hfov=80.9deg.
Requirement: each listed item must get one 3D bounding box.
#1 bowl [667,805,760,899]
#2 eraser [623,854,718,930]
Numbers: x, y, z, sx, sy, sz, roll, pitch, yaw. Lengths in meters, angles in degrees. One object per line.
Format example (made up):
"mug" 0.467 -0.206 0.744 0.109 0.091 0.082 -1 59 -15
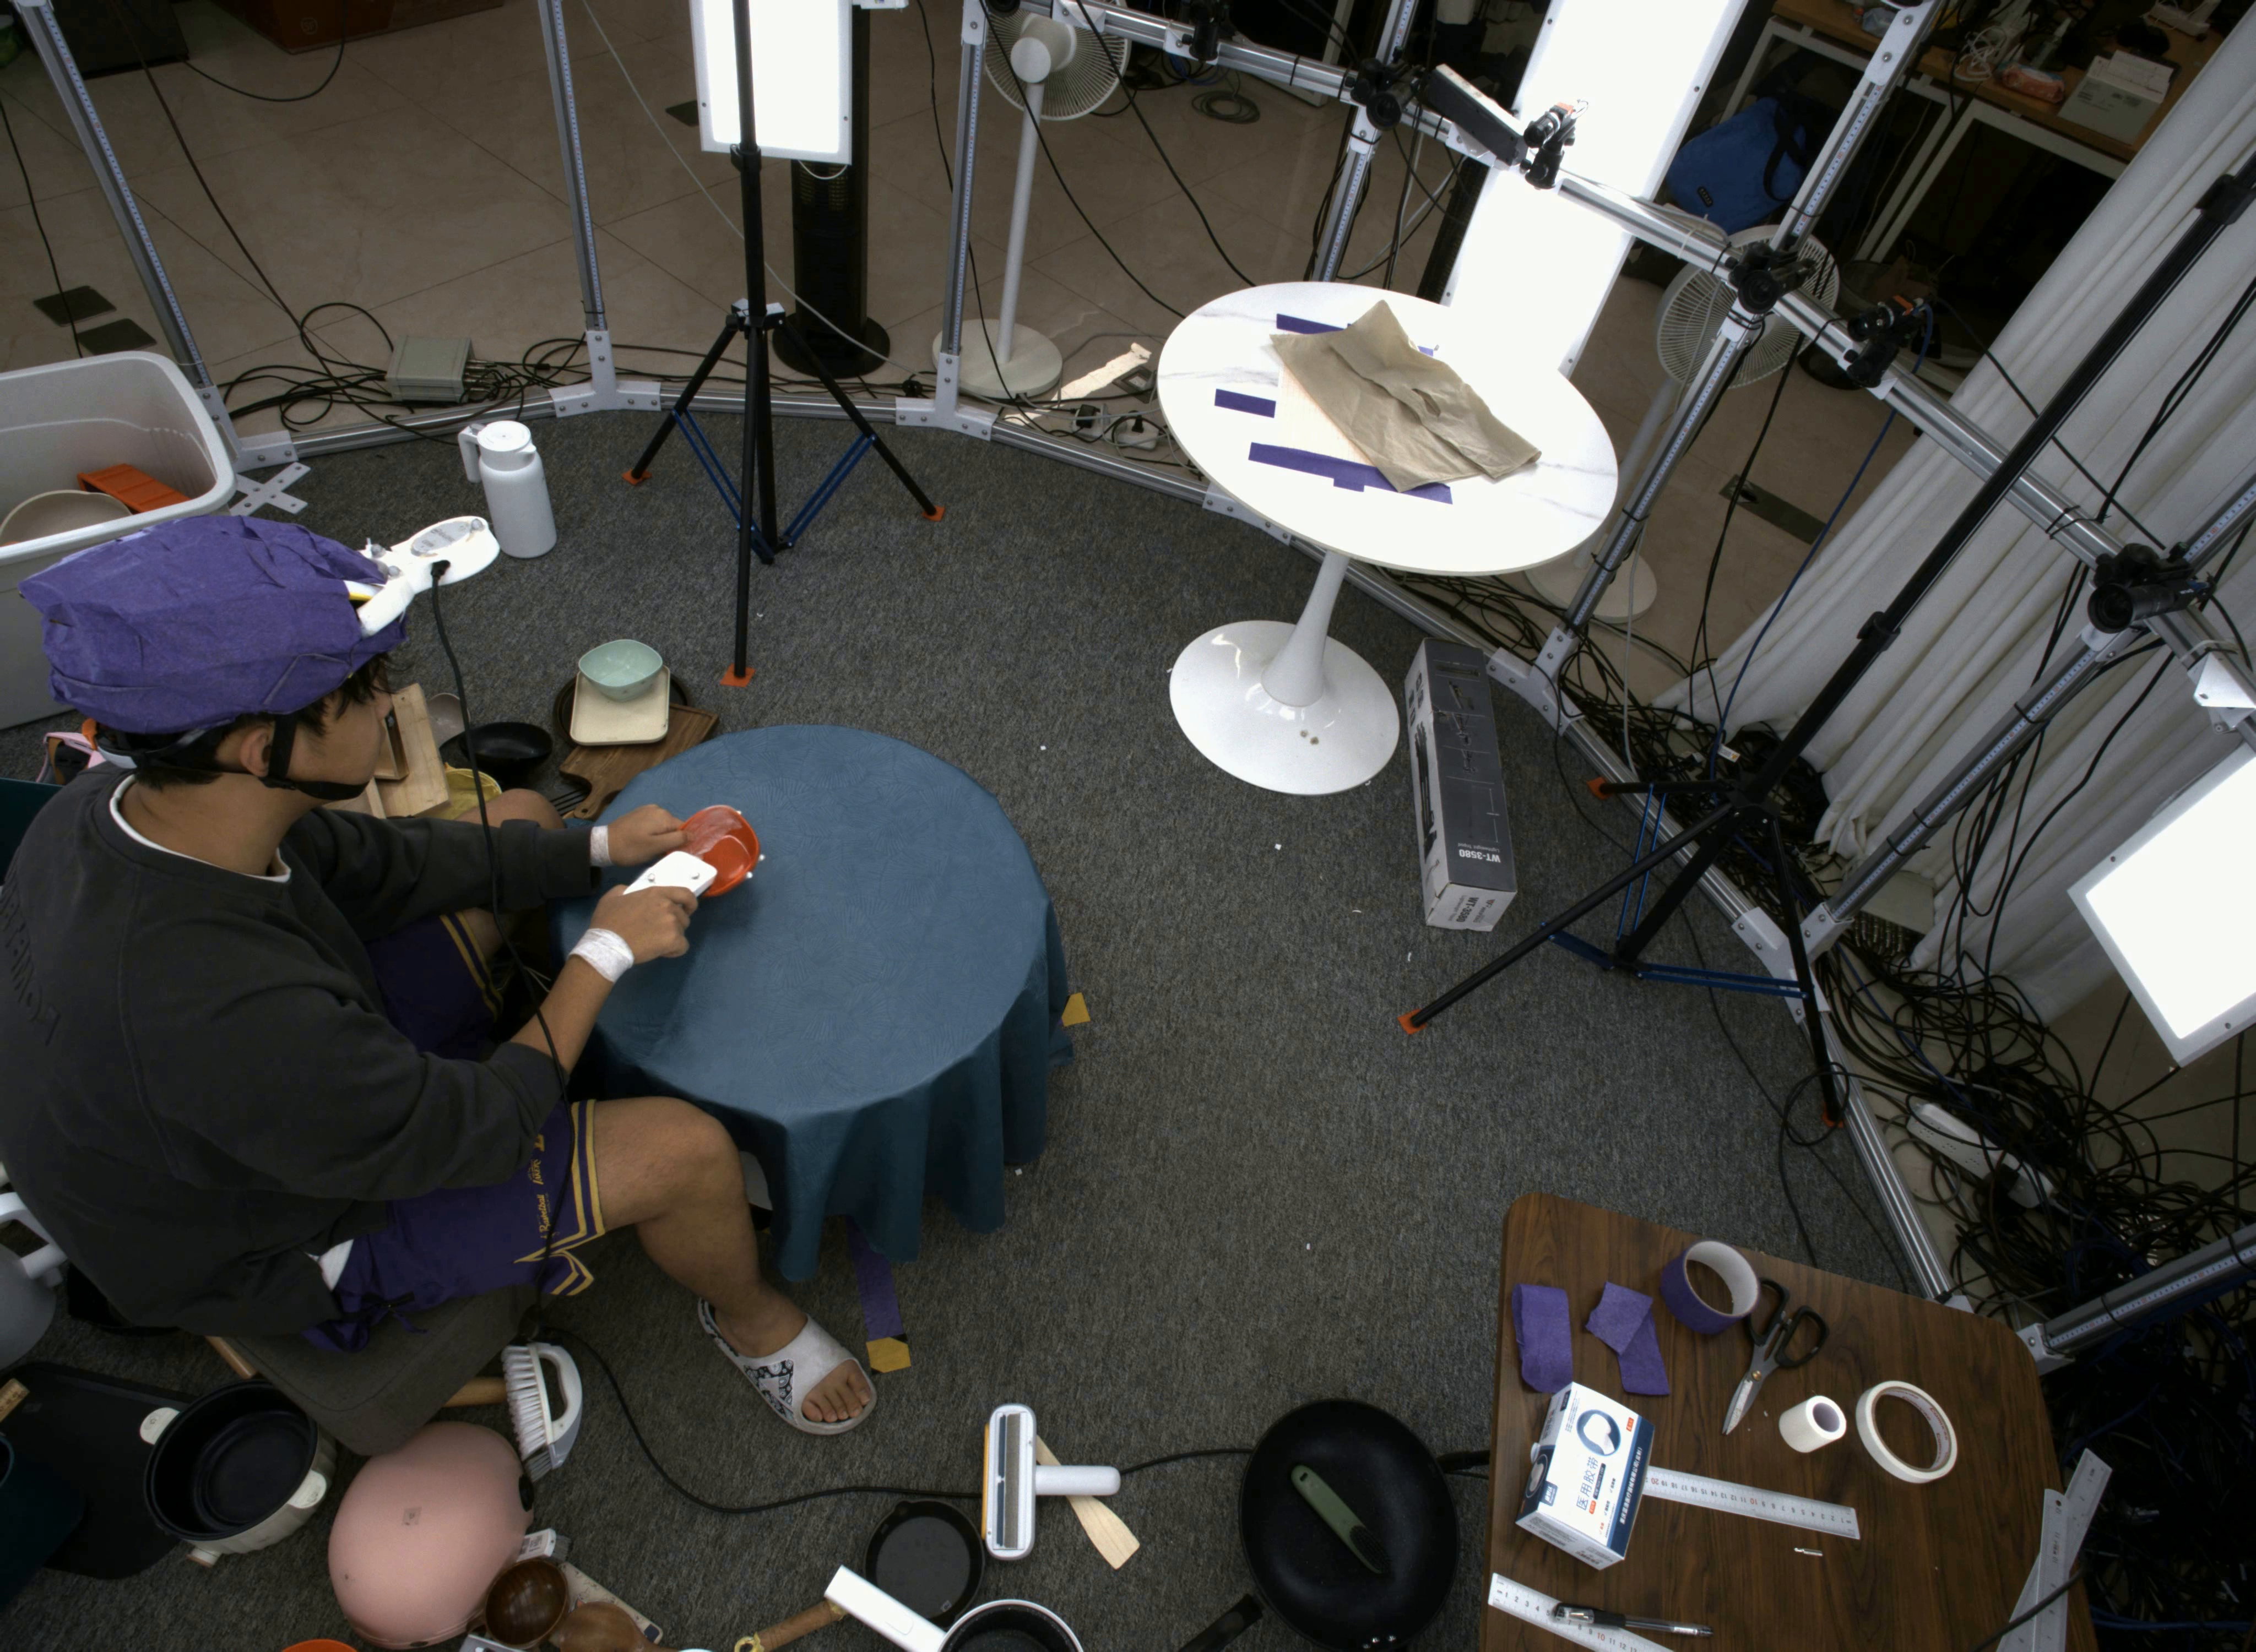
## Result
"bowl" -0.511 0.038 1.614 0.117 0.052 0.118 -1 71 3
"eraser" -0.548 0.073 1.535 0.062 0.035 0.130 27 28 5
